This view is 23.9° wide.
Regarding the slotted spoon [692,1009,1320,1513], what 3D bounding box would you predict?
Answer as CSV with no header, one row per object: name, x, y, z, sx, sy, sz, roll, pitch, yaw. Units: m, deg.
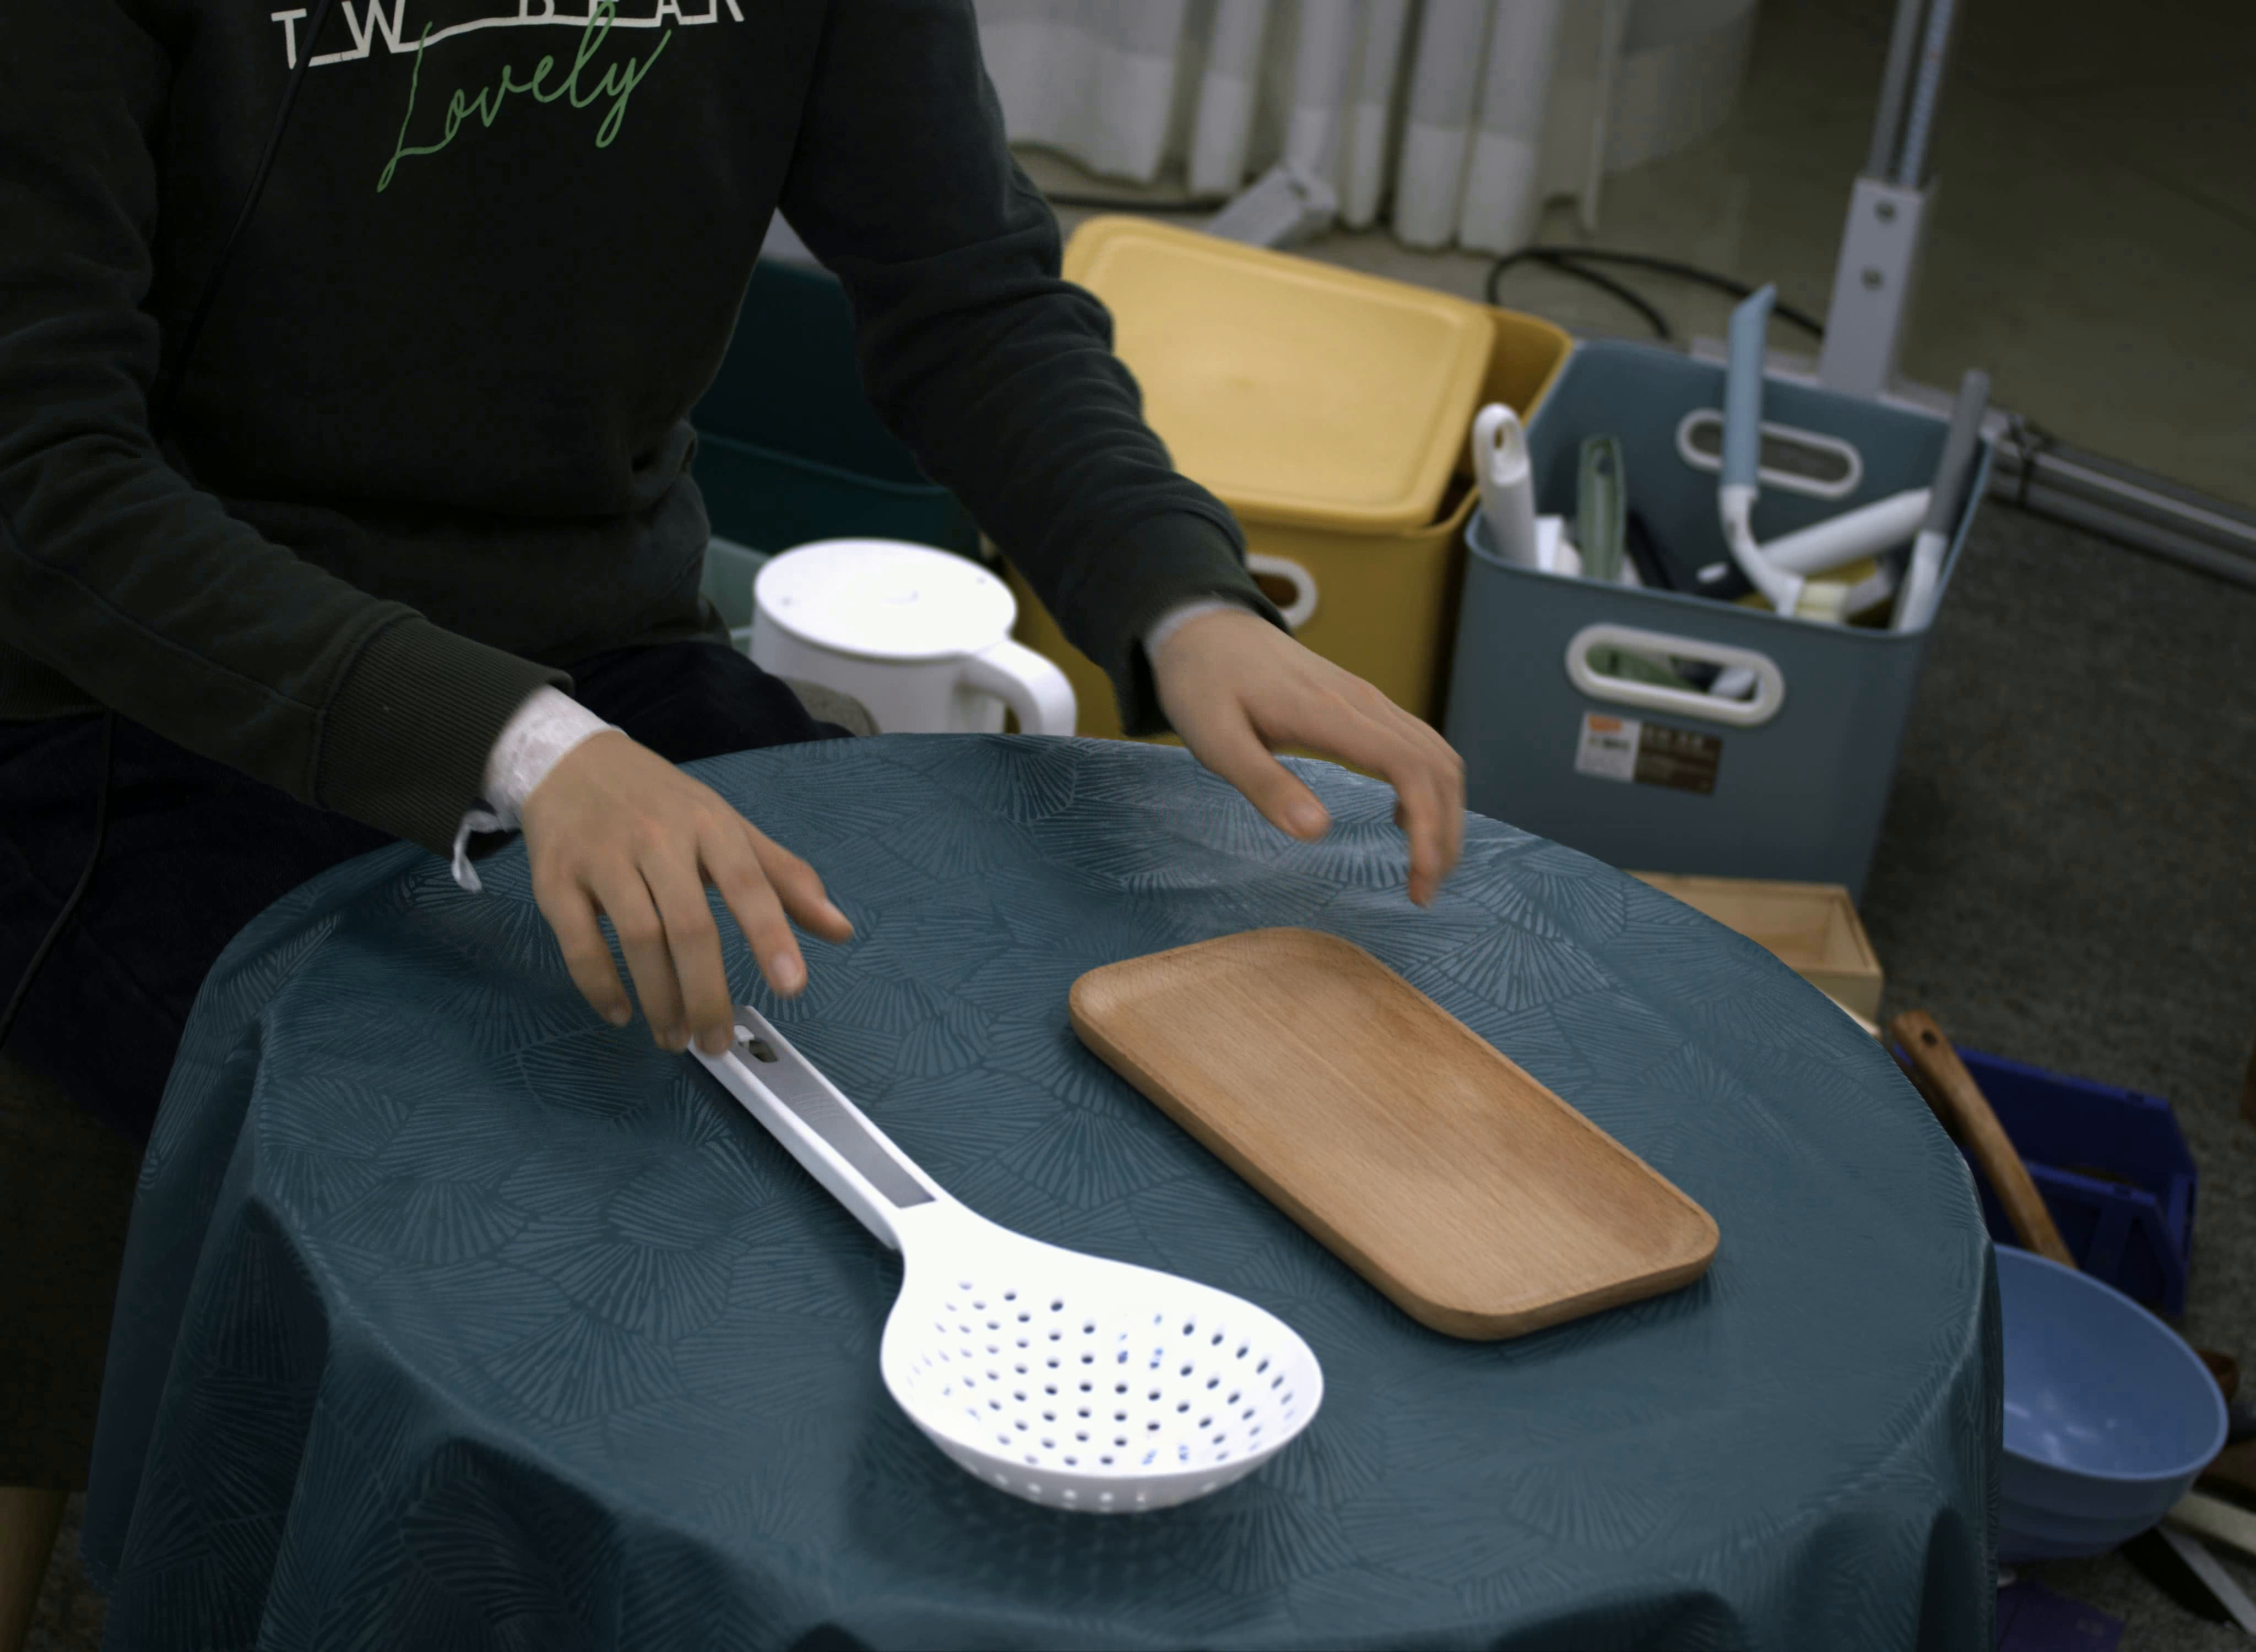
slotted spoon,-0.061,0.134,1.716,0.135,0.045,0.353,-7,29,-28

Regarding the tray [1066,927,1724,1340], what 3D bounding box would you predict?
tray,0.089,0.104,1.842,0.130,0.023,0.253,-10,30,-33
